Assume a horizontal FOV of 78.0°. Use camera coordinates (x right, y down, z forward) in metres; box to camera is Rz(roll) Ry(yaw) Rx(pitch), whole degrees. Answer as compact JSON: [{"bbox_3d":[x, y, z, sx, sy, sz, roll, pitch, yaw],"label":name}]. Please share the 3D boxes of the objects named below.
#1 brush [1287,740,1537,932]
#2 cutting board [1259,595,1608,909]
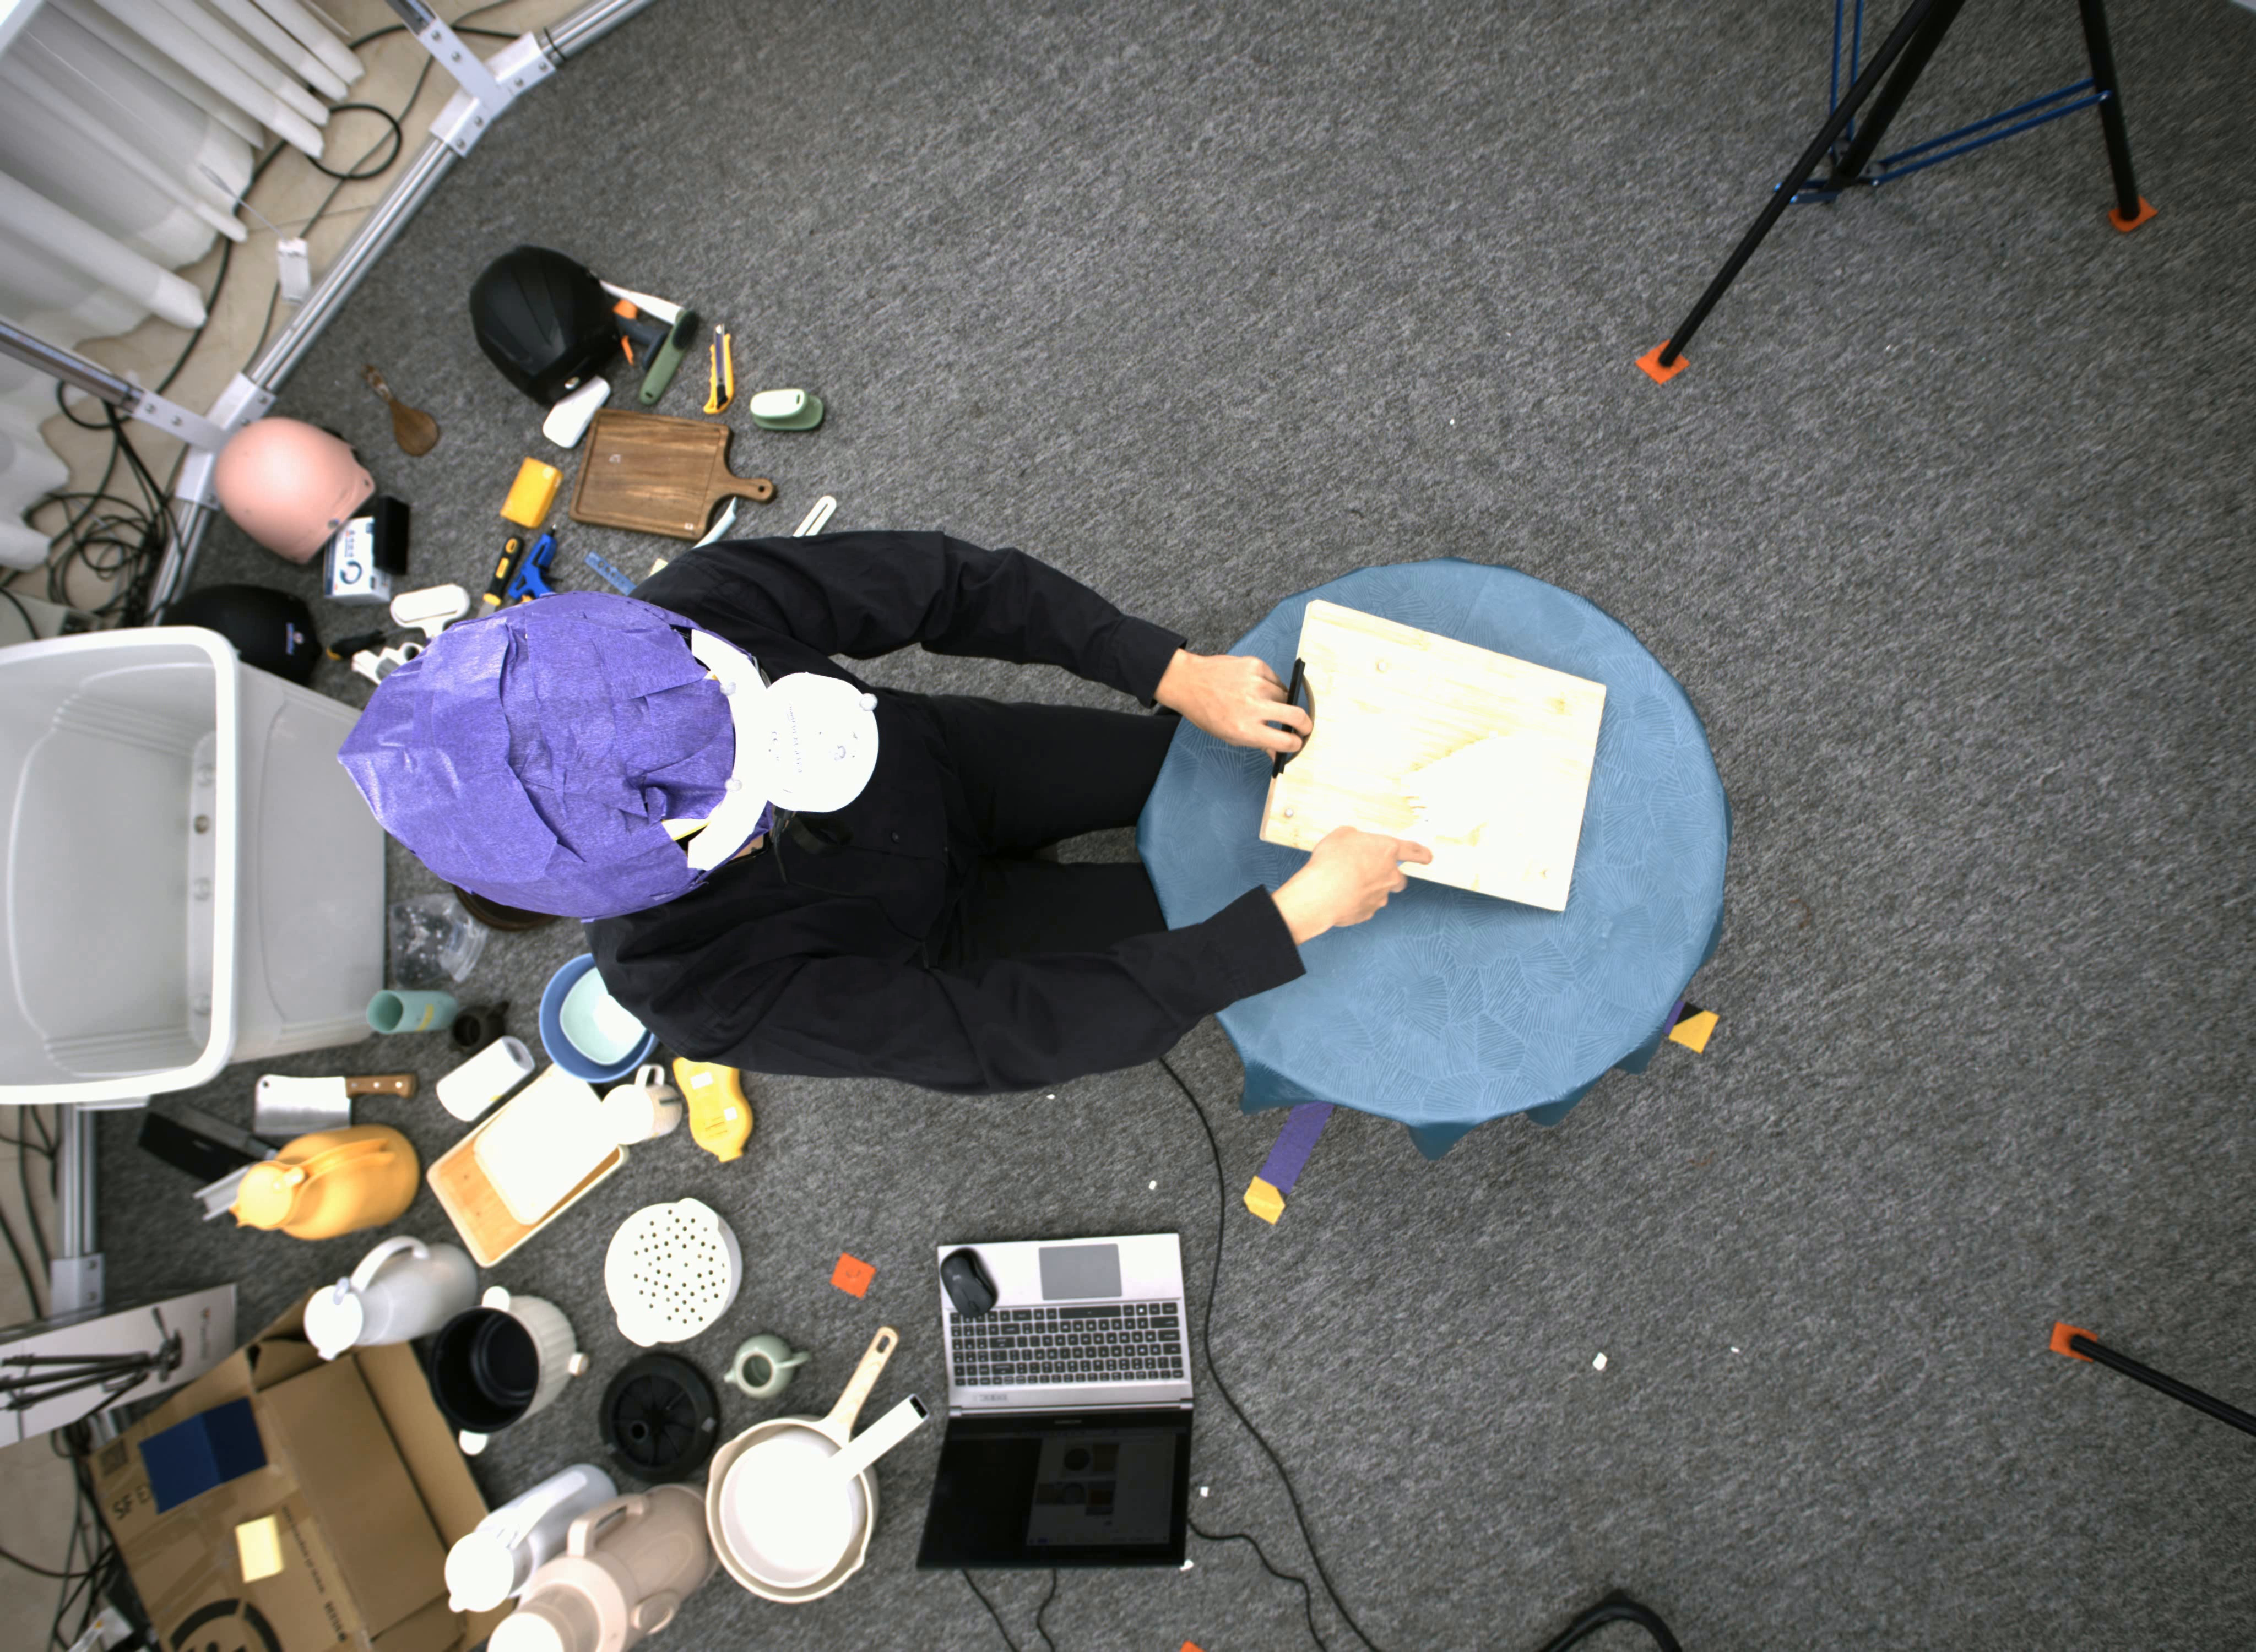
[{"bbox_3d":[0.259,0.003,1.316,0.321,0.086,0.082,-34,61,-19],"label":"brush"},{"bbox_3d":[0.311,-0.070,1.374,0.348,0.023,0.250,11,89,-16],"label":"cutting board"}]
